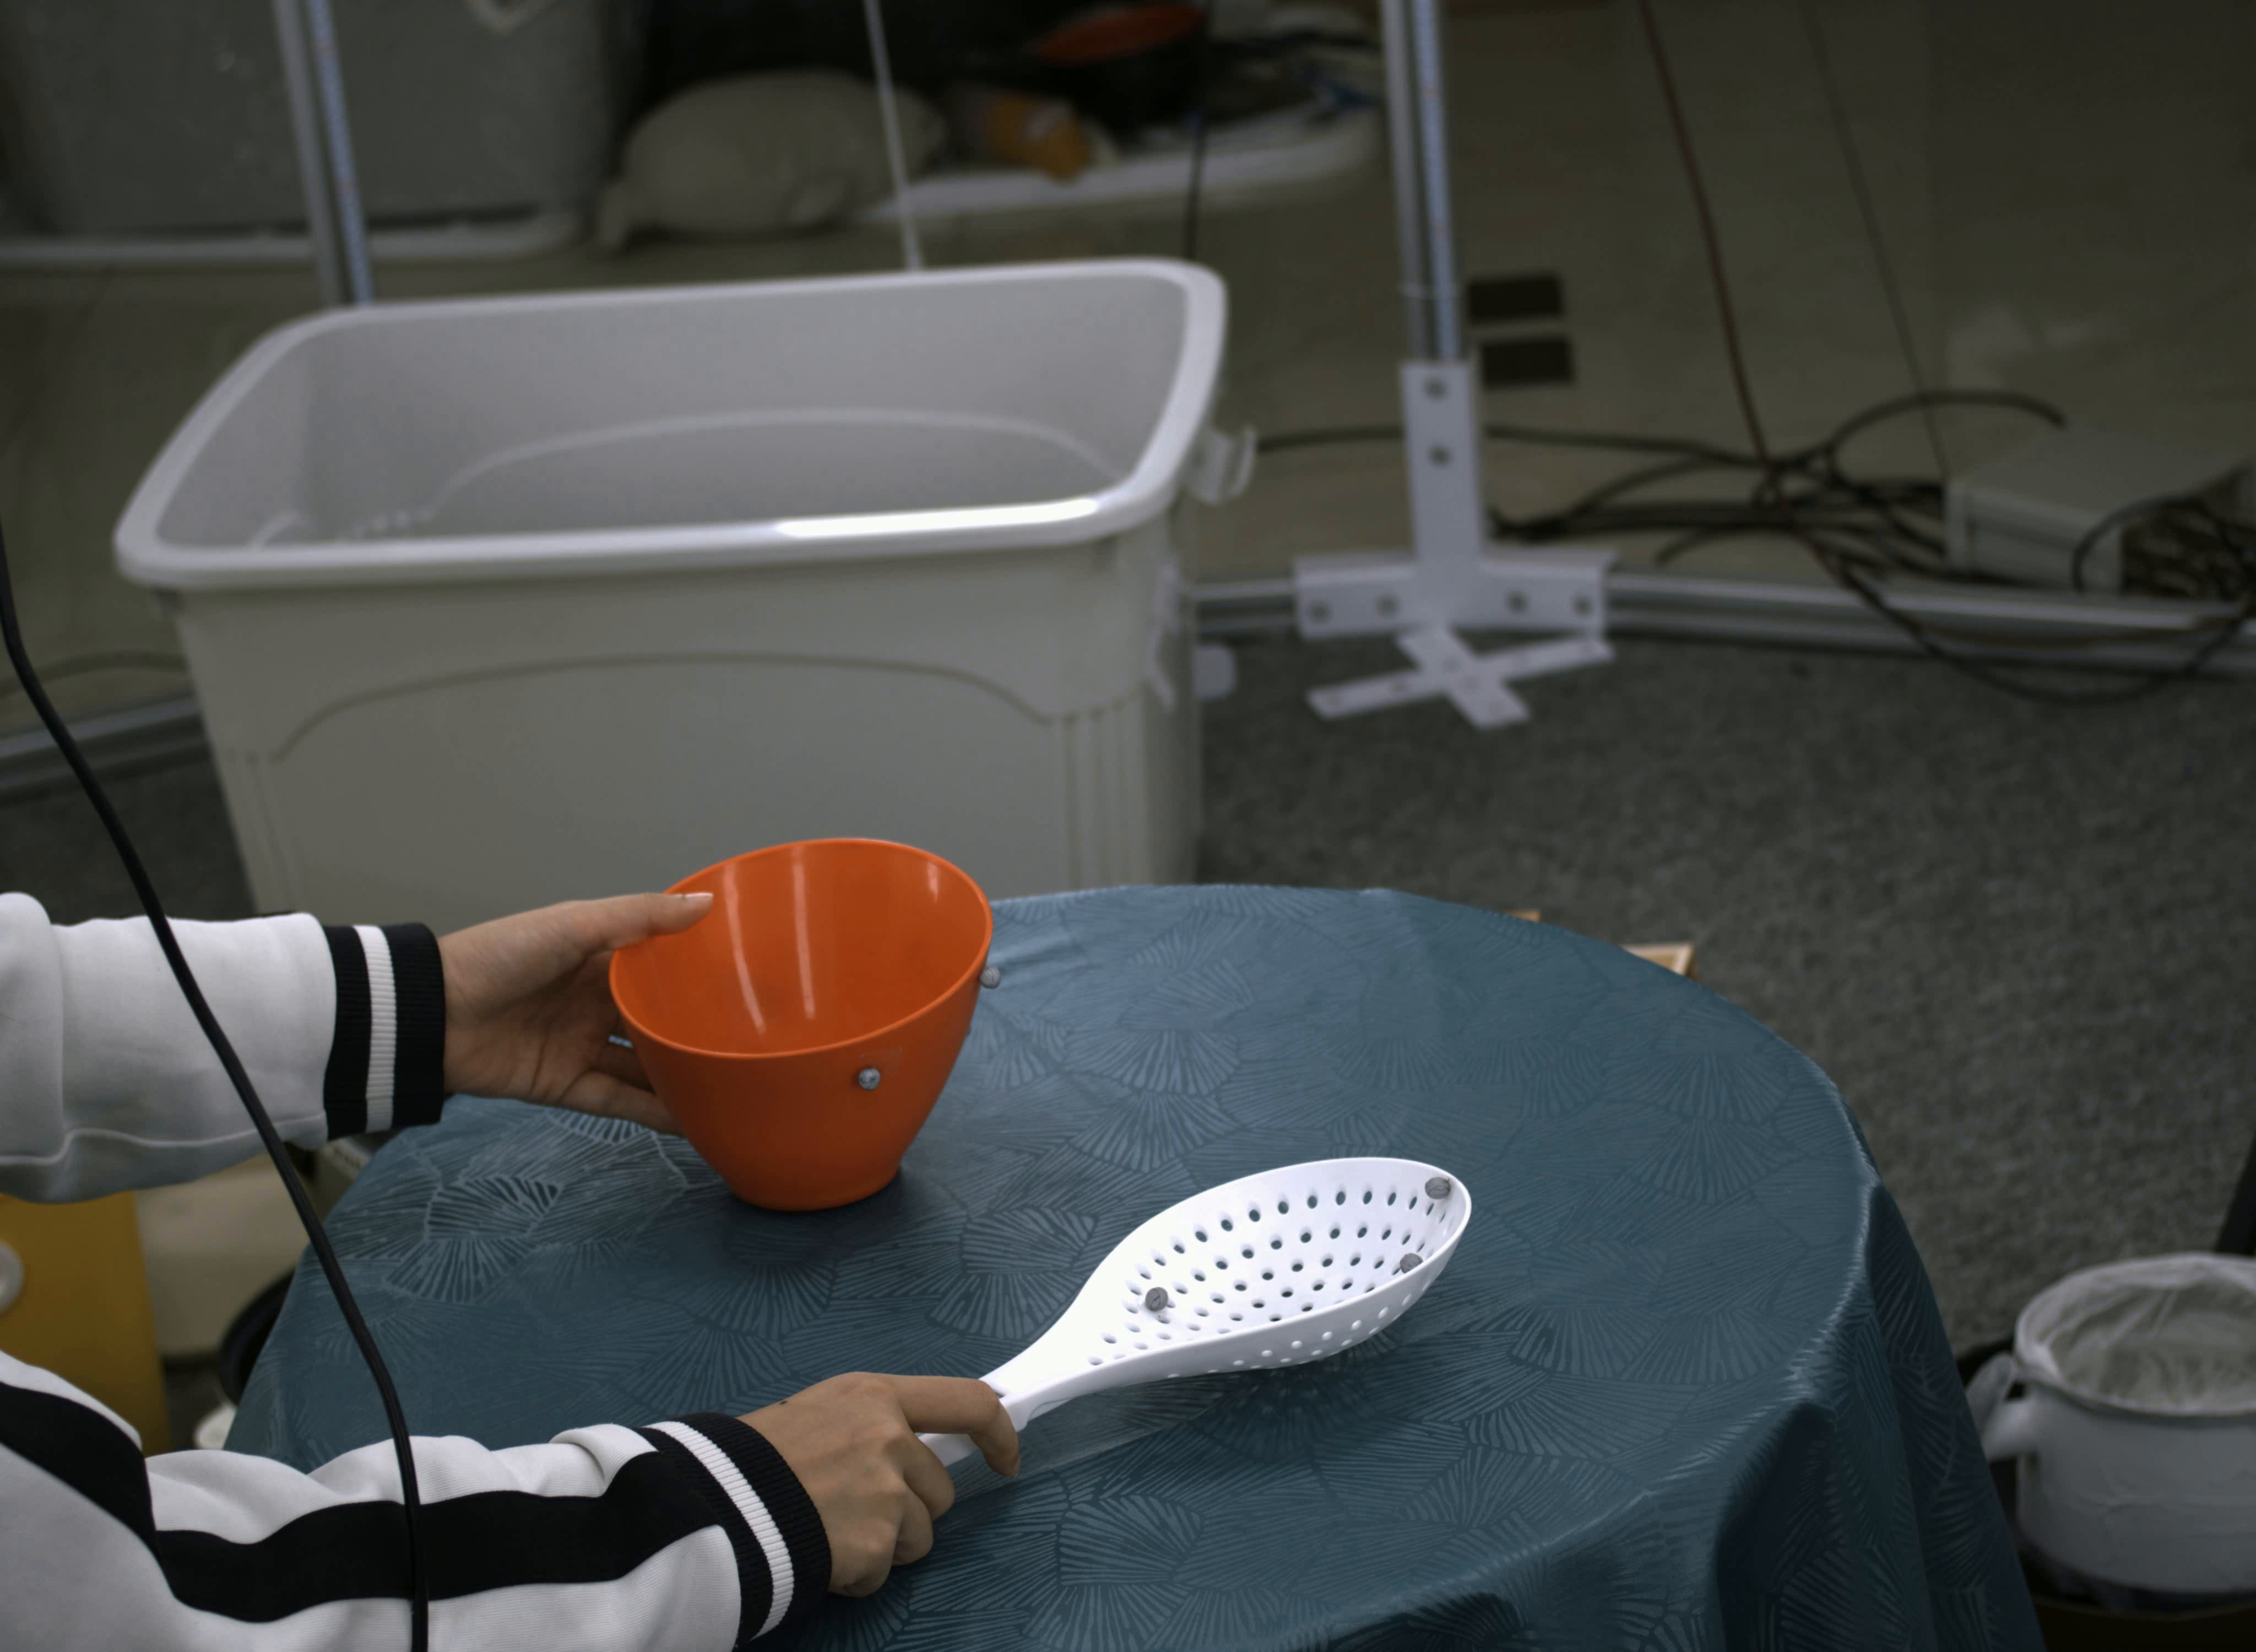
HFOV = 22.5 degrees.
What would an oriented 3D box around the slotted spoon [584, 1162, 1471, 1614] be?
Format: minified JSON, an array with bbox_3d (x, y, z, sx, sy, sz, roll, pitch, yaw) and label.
[{"bbox_3d":[-0.032,0.194,1.972,0.348,0.046,0.135,-18,18,-27],"label":"slotted spoon"}]

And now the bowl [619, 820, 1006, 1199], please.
[{"bbox_3d":[-0.121,0.077,2.174,0.148,0.106,0.145,1,29,0],"label":"bowl"}]
